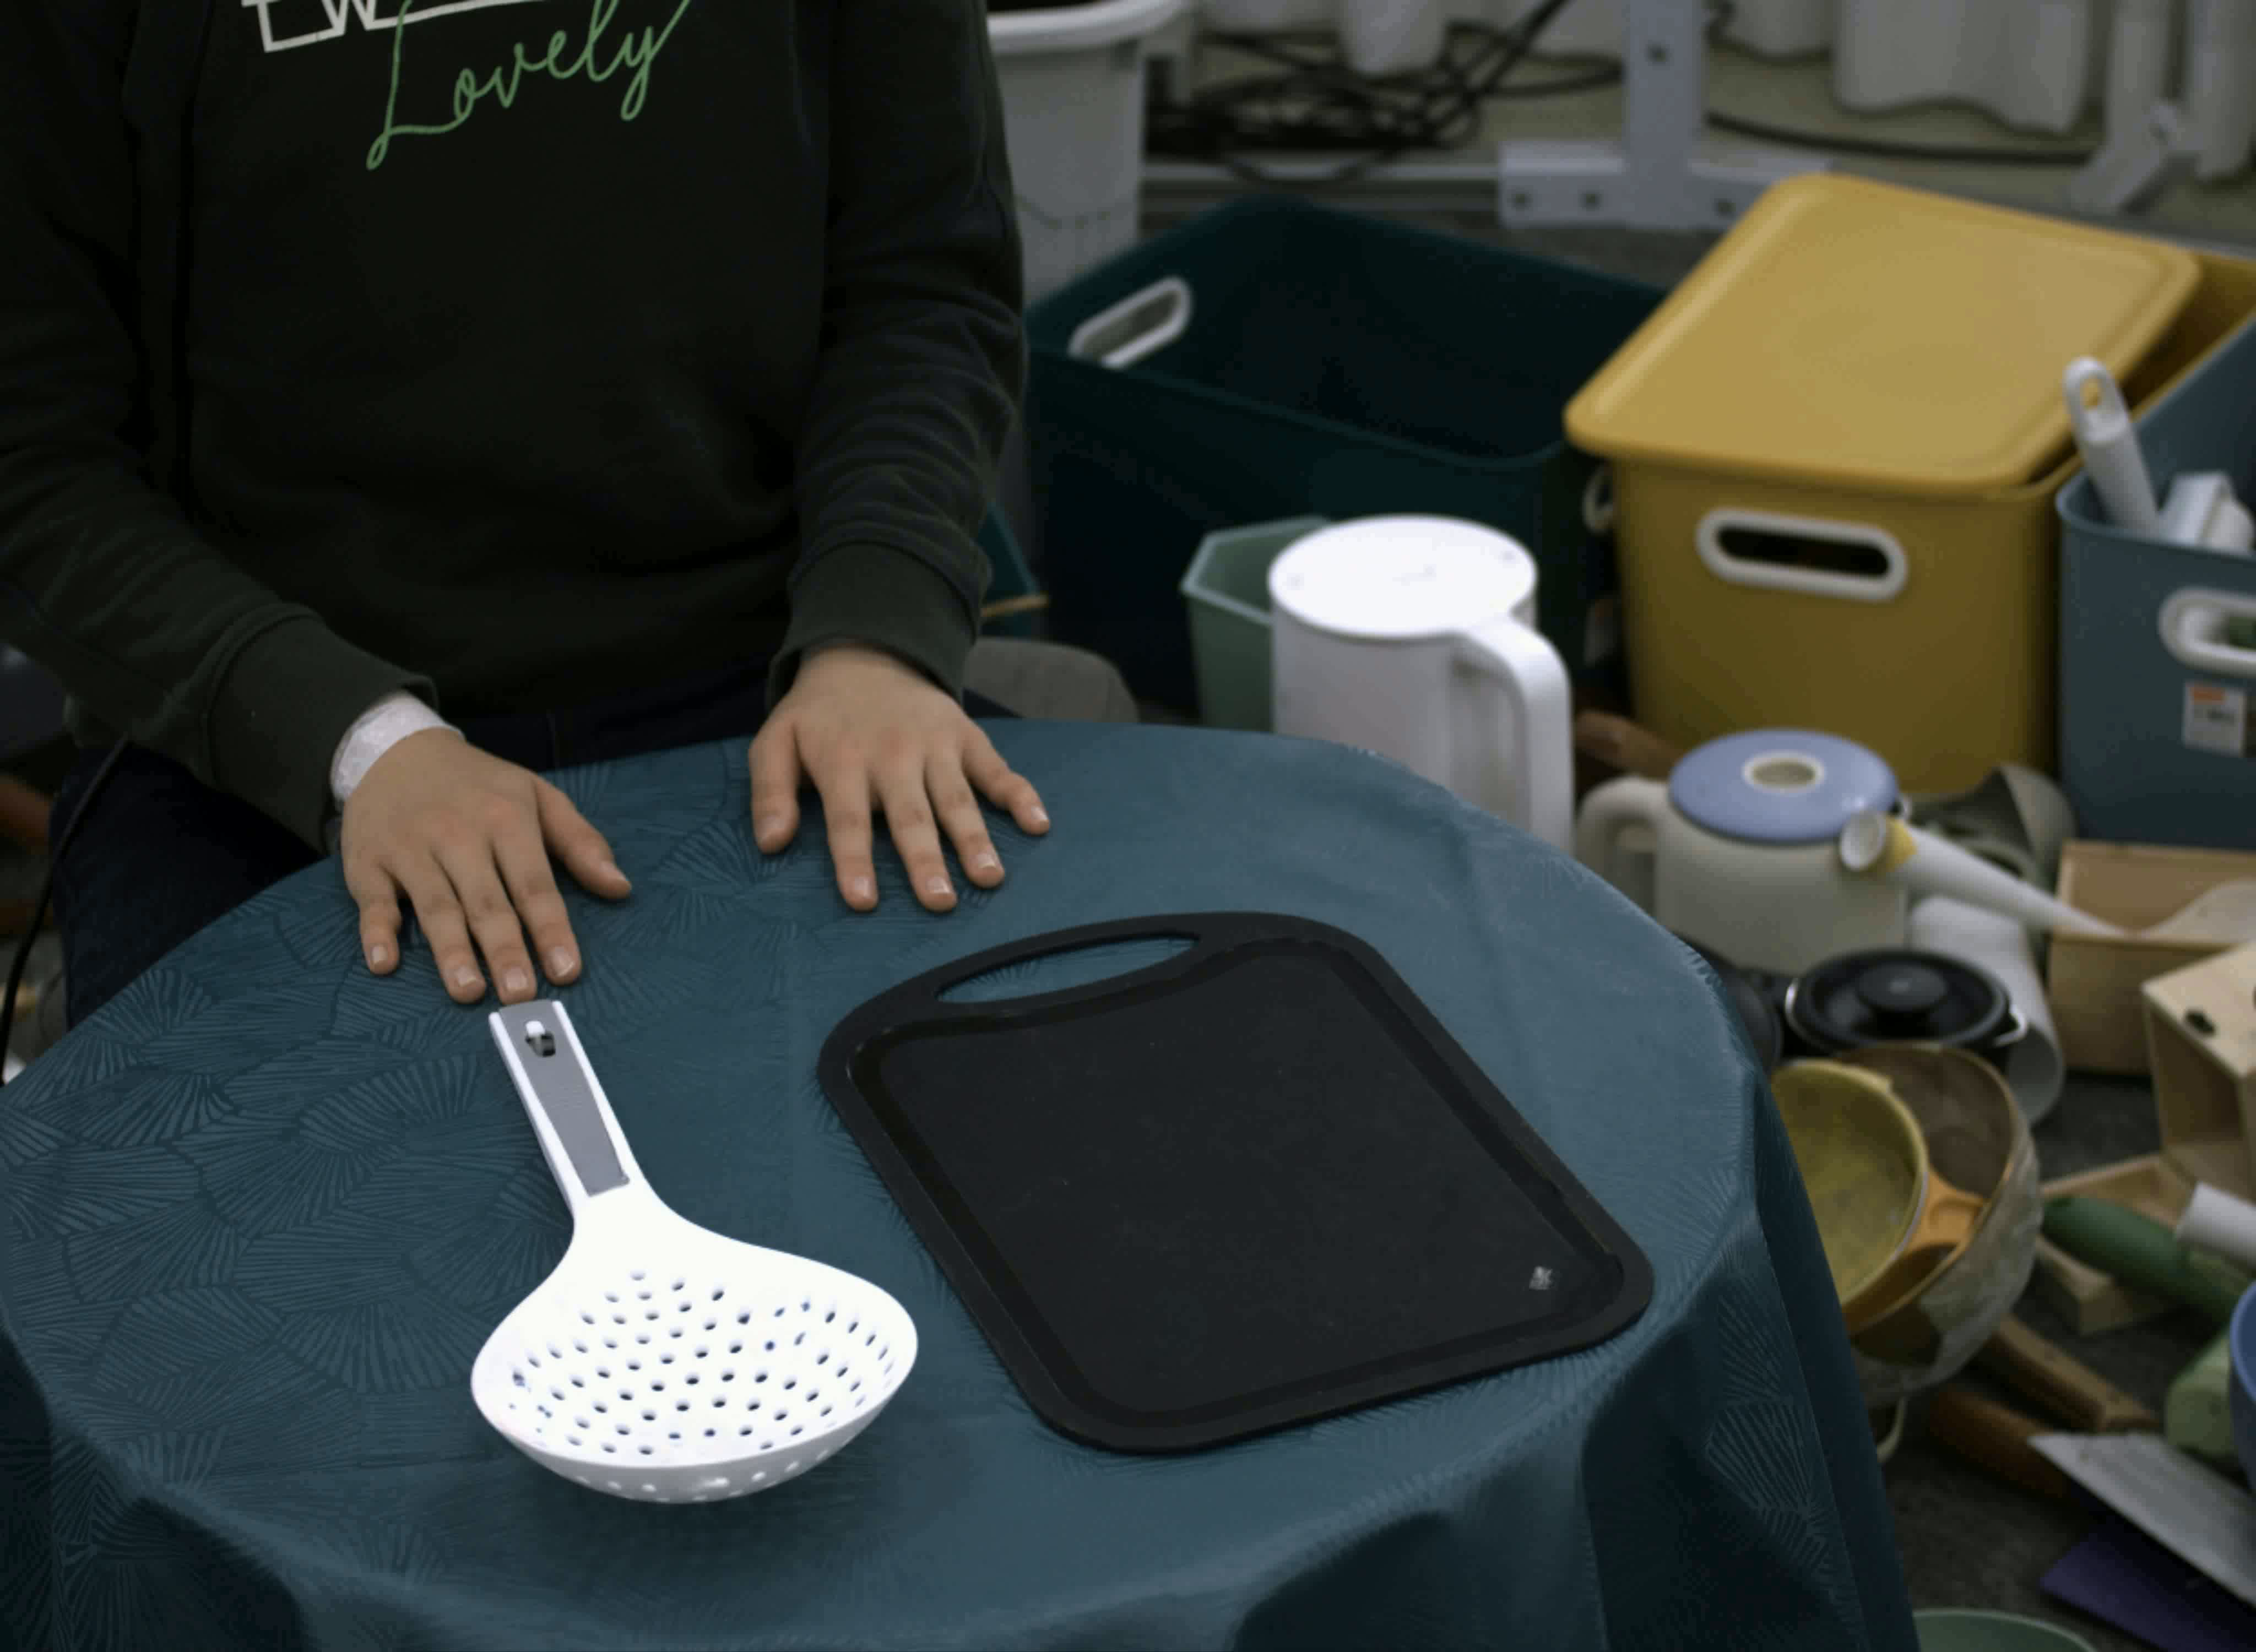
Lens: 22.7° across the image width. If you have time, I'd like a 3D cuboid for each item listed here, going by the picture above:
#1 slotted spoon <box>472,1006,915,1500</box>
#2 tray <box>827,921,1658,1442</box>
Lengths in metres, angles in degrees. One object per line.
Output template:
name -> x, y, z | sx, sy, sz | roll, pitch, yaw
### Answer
slotted spoon -> -0.162, 0.131, 1.810 | 0.136, 0.045, 0.353 | -8, 27, -14
tray -> 0.028, 0.109, 1.876 | 0.211, 0.009, 0.328 | -12, 28, -17
